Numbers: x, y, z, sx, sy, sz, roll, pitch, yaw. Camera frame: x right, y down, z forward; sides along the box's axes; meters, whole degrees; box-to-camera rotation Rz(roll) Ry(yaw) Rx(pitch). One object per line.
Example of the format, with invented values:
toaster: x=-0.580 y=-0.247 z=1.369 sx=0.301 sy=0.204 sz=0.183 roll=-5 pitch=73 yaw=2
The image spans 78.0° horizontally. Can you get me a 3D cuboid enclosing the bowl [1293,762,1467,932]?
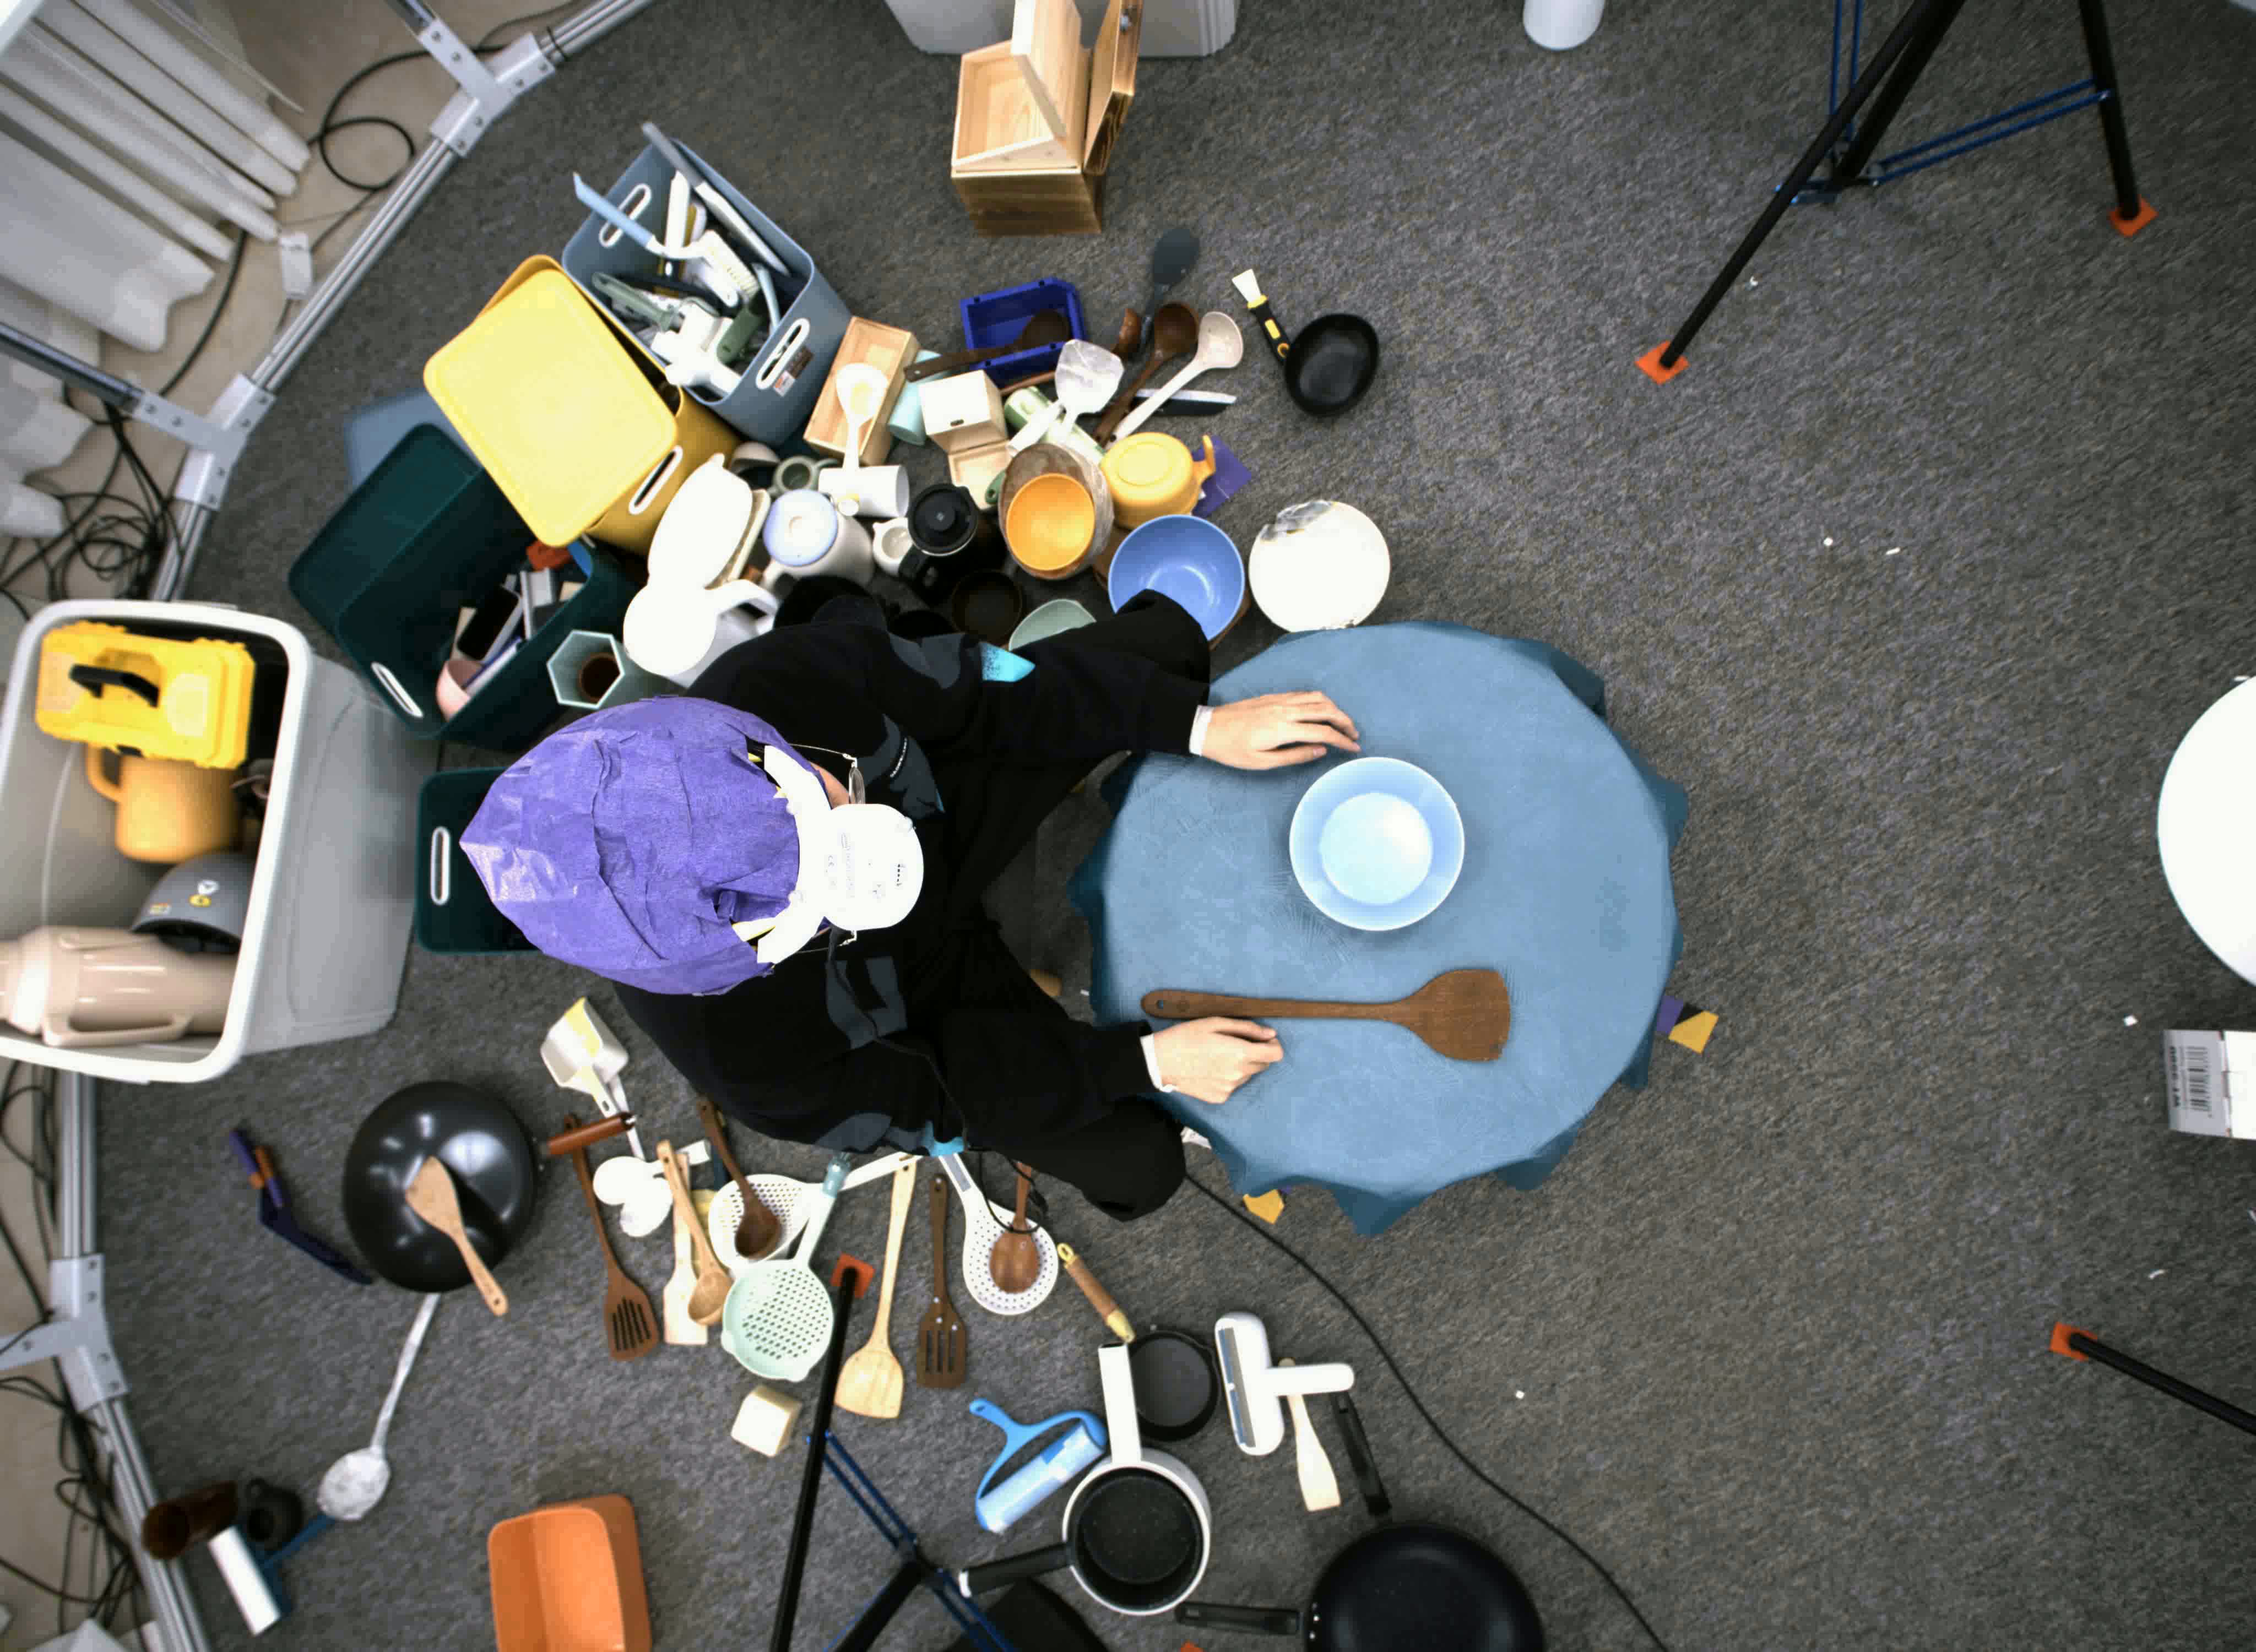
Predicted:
bowl: x=0.261 y=0.023 z=1.435 sx=0.177 sy=0.070 sz=0.175 roll=-1 pitch=85 yaw=11

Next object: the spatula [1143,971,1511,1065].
spatula: x=0.206 y=0.196 z=1.461 sx=0.387 sy=0.016 sz=0.095 roll=0 pitch=86 yaw=11
